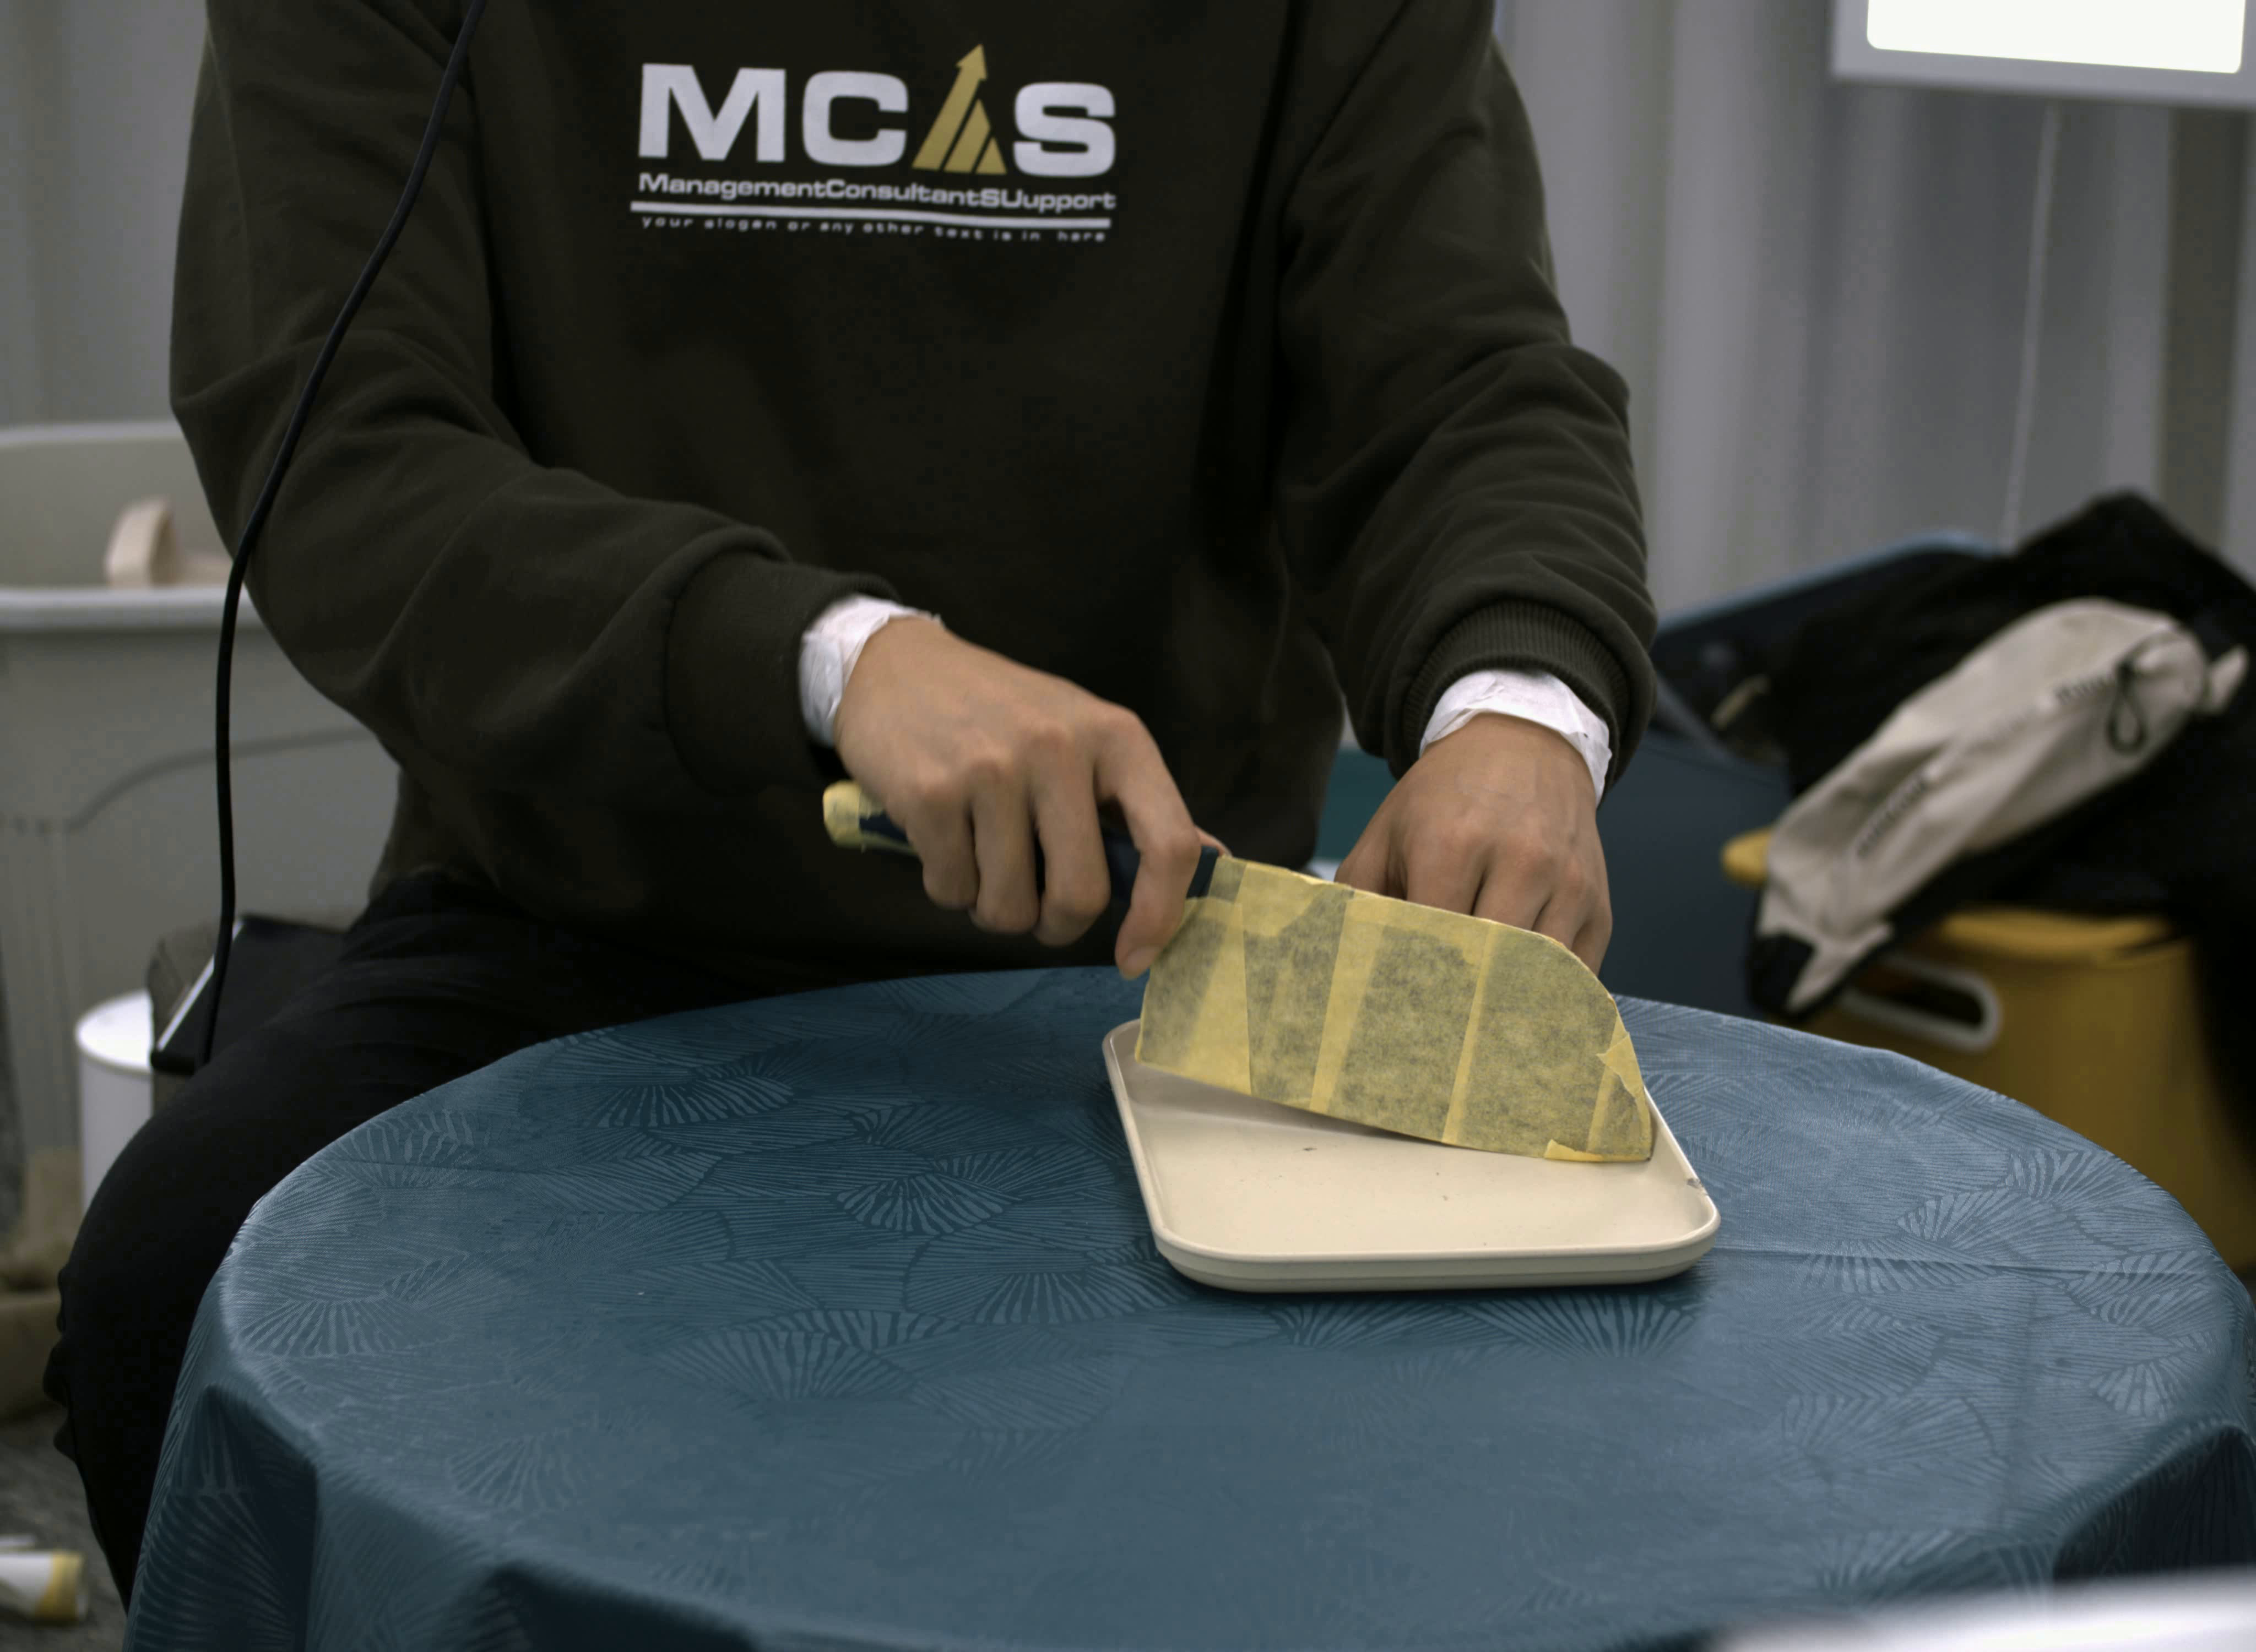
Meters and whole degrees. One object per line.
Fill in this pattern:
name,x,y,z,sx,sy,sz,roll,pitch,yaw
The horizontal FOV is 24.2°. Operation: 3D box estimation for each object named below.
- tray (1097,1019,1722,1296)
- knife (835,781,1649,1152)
tray,0.083,0.100,1.641,0.171,0.017,0.238,-1,15,-6
knife,0.033,0.043,1.682,0.287,0.081,0.027,18,5,18
